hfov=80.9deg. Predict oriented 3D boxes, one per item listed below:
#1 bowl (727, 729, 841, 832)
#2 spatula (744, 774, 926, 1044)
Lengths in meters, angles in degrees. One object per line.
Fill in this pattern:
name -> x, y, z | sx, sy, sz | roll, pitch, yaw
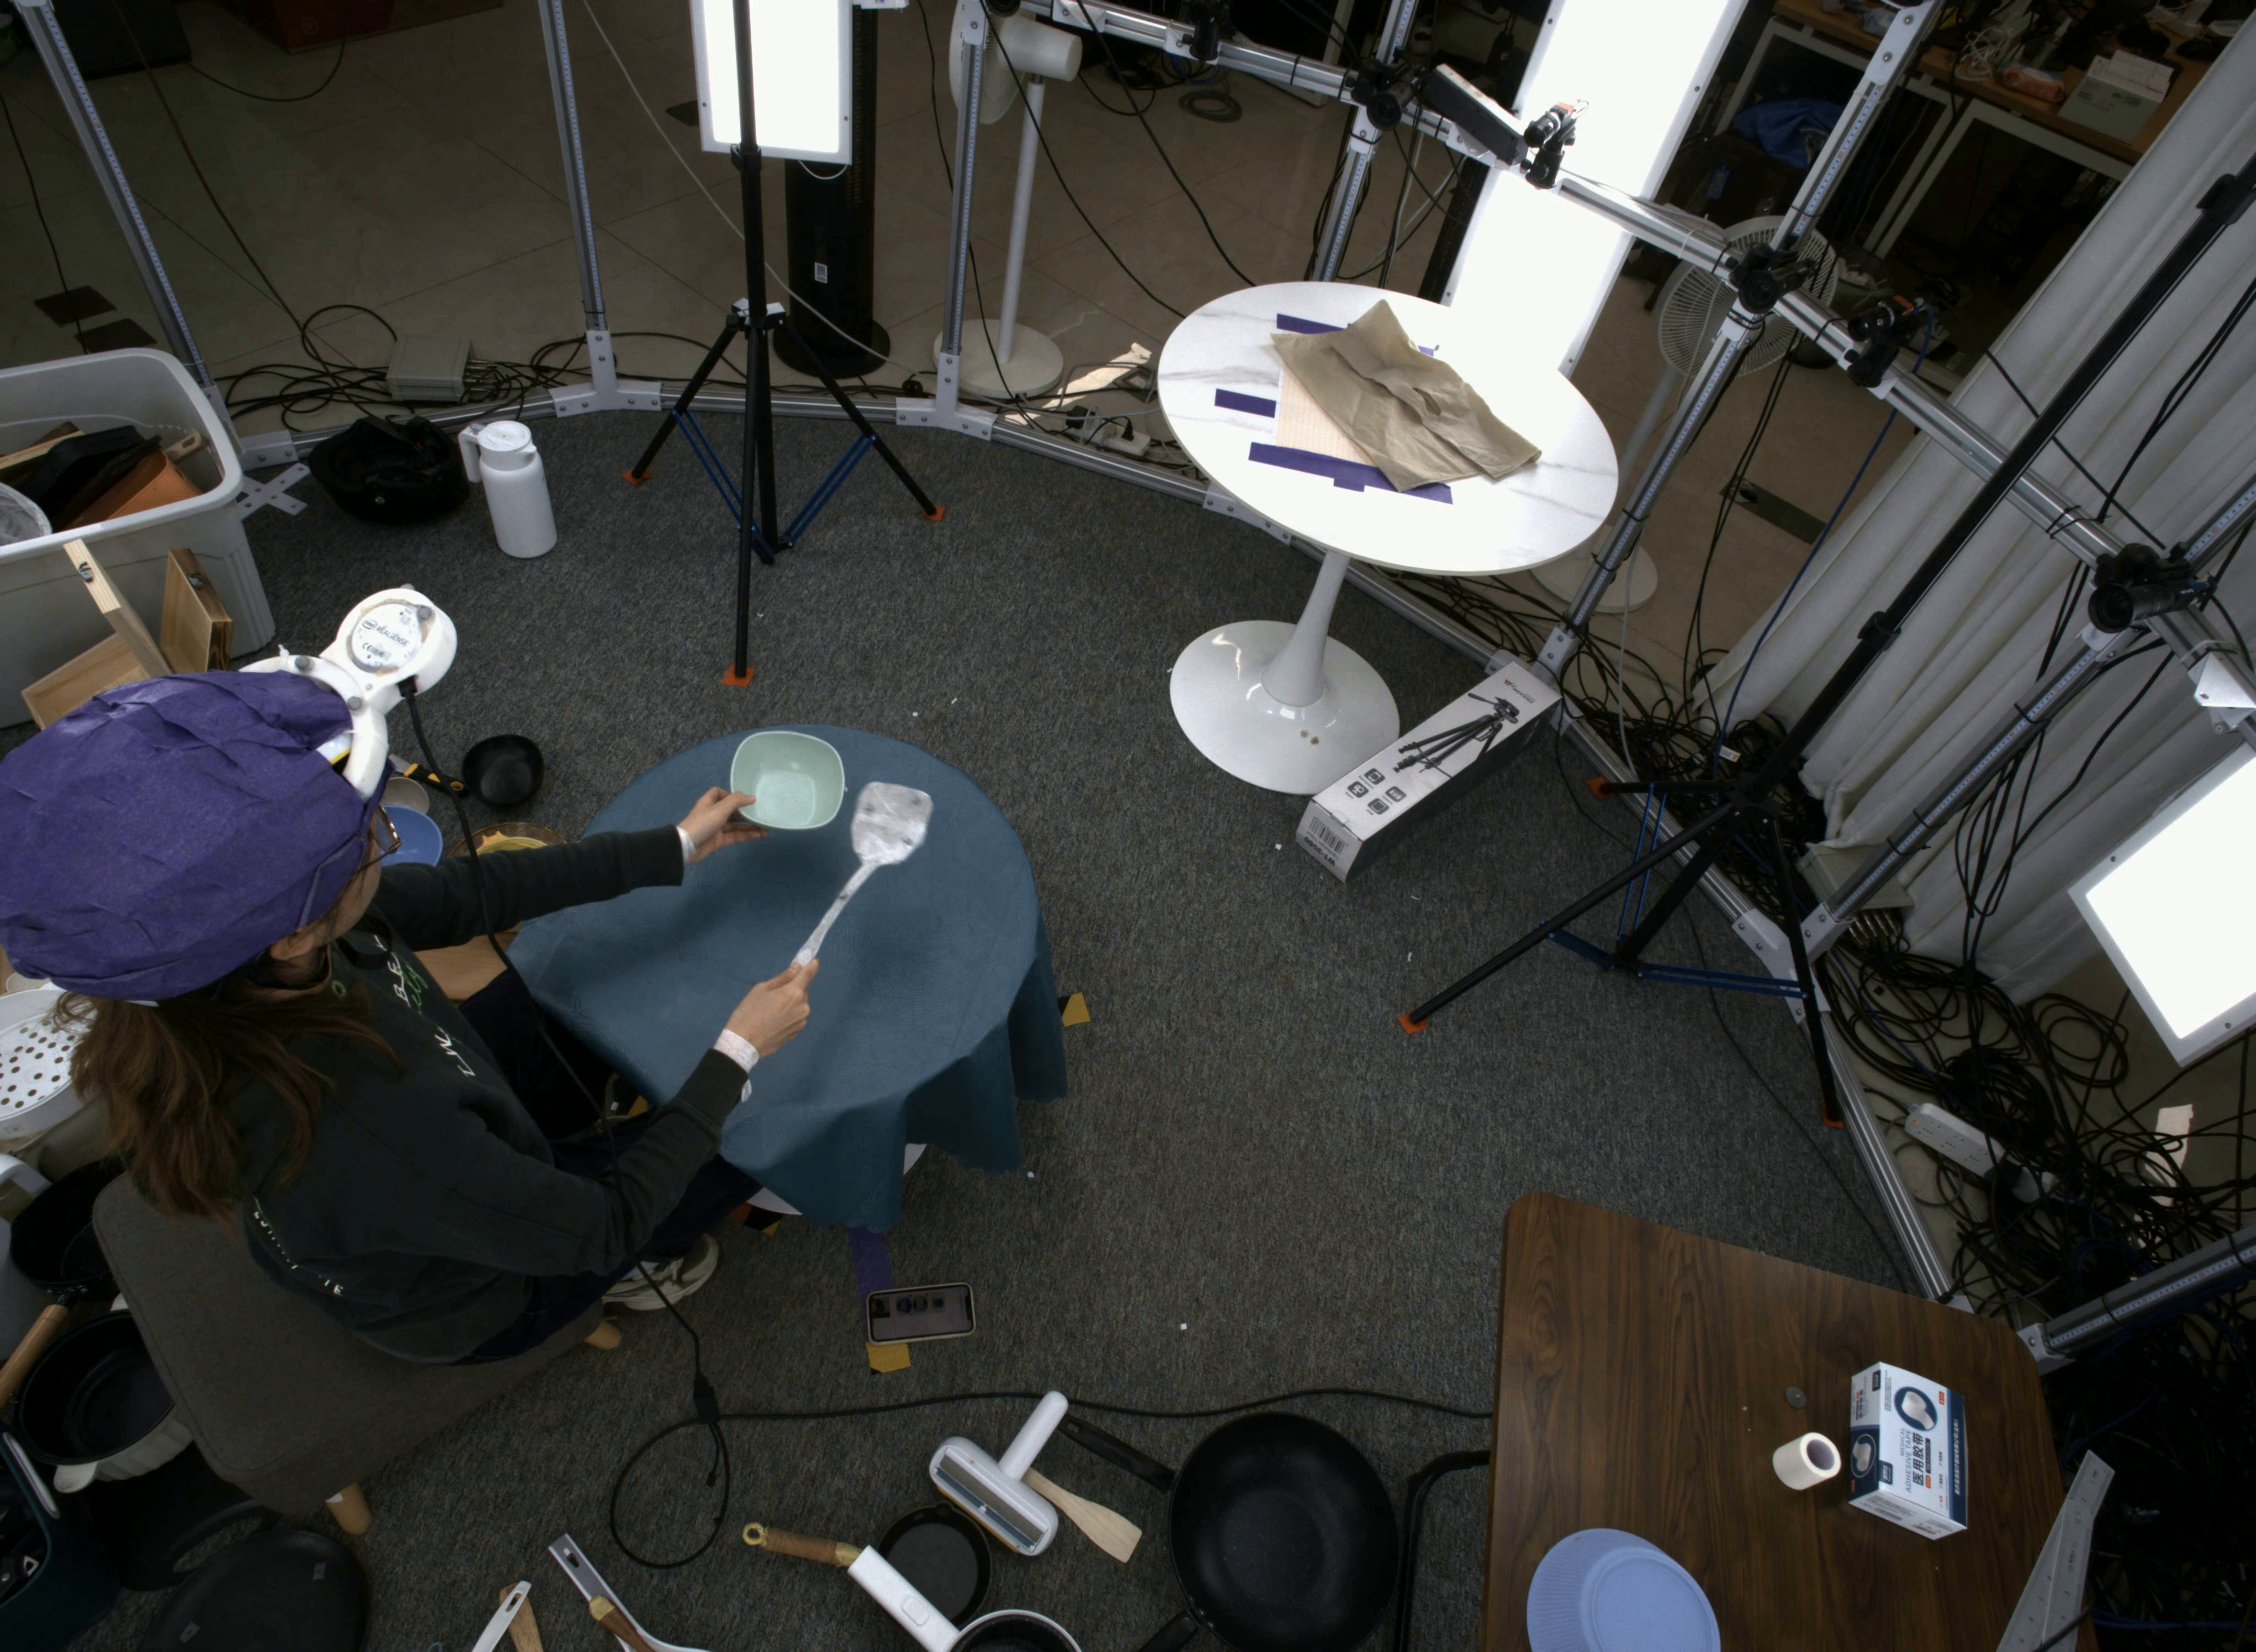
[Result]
bowl -> -0.433, -0.048, 1.624 | 0.153, 0.059, 0.149 | 12, 58, -18
spatula -> -0.344, 0.088, 1.486 | 0.096, 0.046, 0.362 | 15, 54, 16
